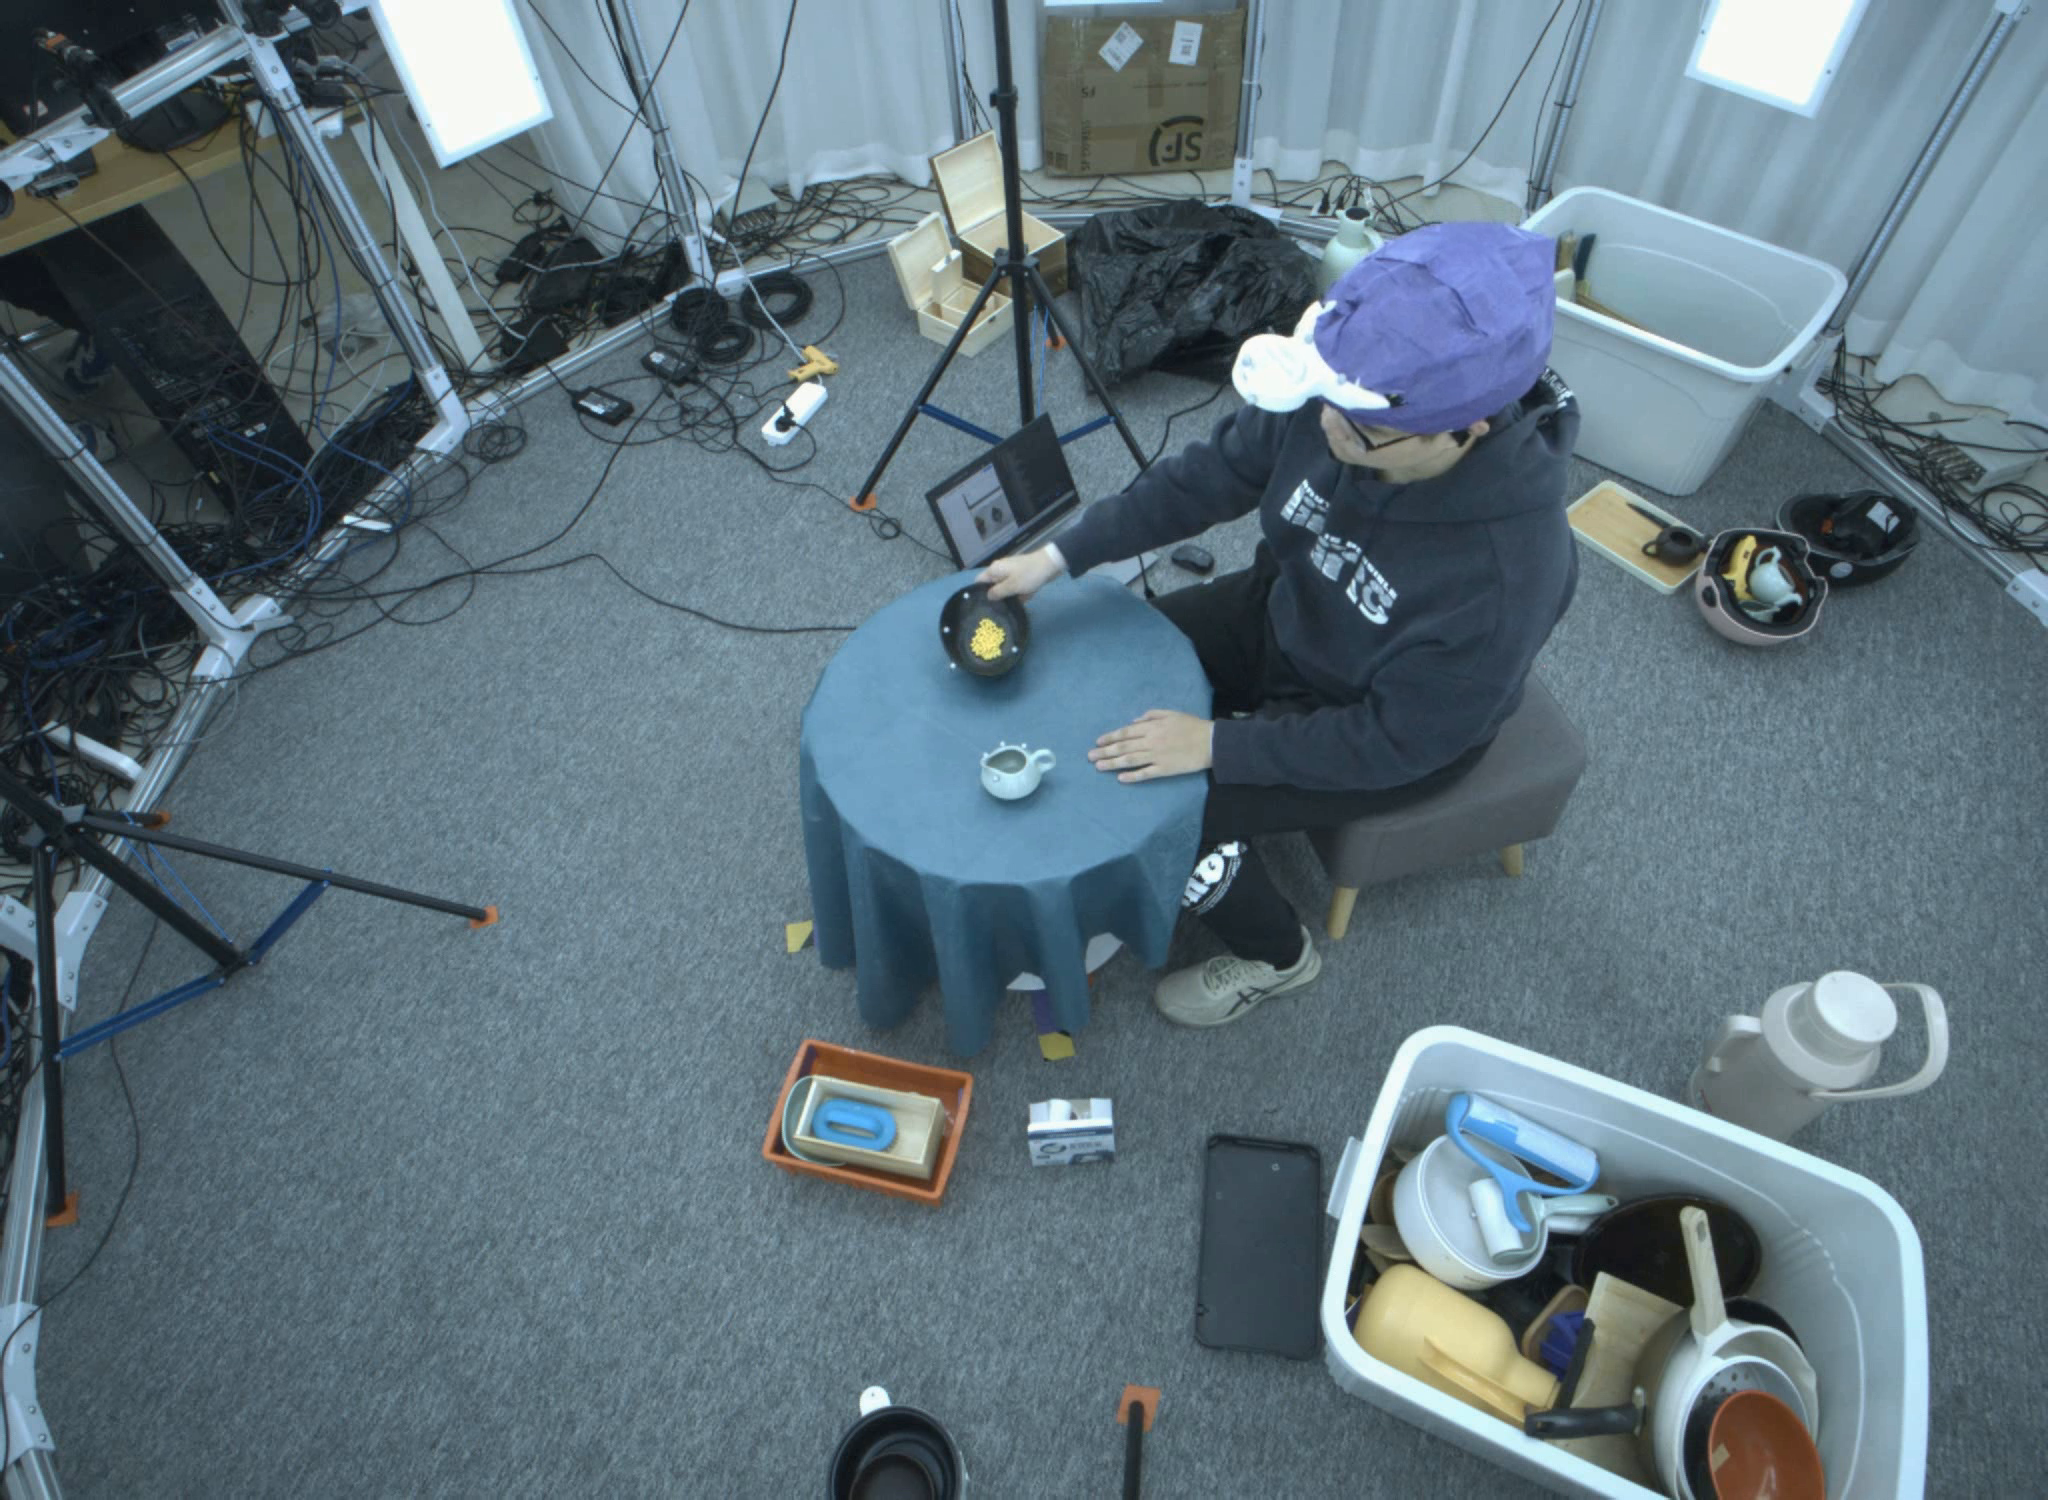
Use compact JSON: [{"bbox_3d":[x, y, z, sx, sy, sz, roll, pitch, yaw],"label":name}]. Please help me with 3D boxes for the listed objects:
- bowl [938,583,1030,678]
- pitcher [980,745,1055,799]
[{"bbox_3d":[-0.061,-0.174,1.866,0.138,0.067,0.168,-7,64,-5],"label":"bowl"},{"bbox_3d":[-0.009,0.025,1.736,0.108,0.061,0.085,-9,56,-7],"label":"pitcher"}]
